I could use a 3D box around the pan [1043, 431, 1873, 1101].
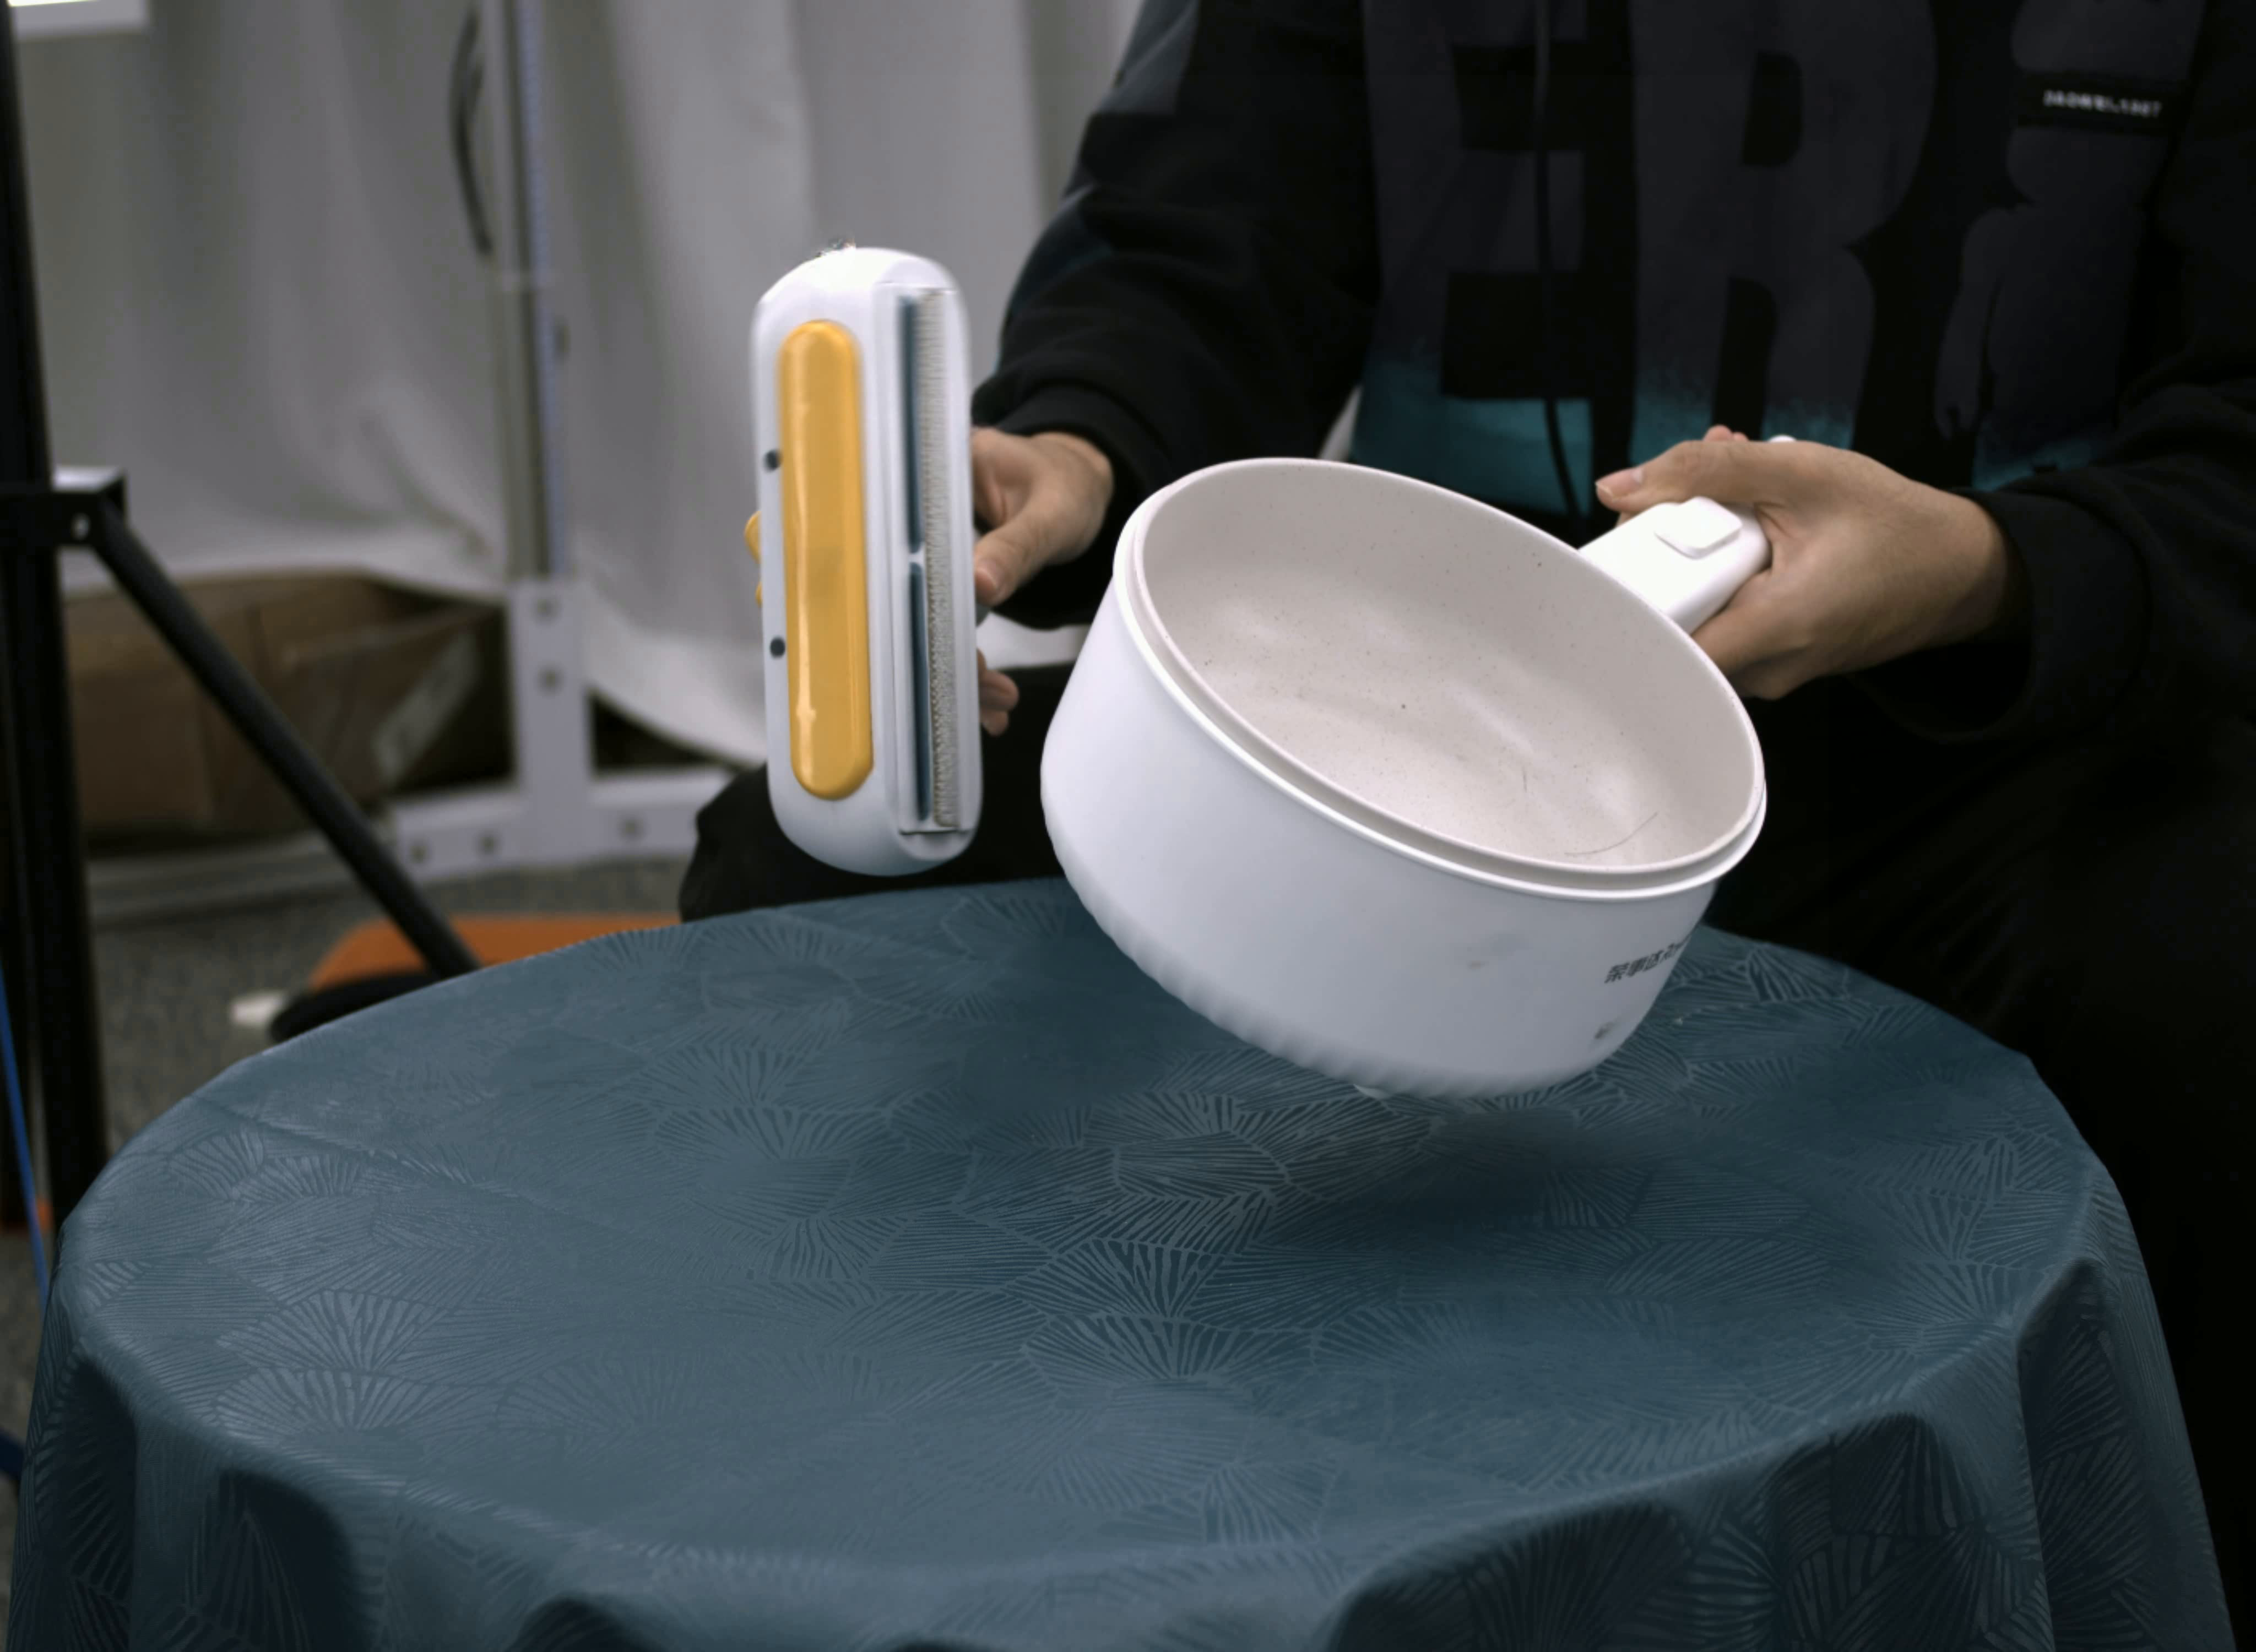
[{"bbox_3d":[0.115,-0.032,1.591,0.204,0.102,0.348,35,33,19],"label":"pan"}]

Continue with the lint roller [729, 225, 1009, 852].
[{"bbox_3d":[-0.067,-0.085,1.704,0.075,0.194,0.189,-10,-7,22],"label":"lint roller"}]
